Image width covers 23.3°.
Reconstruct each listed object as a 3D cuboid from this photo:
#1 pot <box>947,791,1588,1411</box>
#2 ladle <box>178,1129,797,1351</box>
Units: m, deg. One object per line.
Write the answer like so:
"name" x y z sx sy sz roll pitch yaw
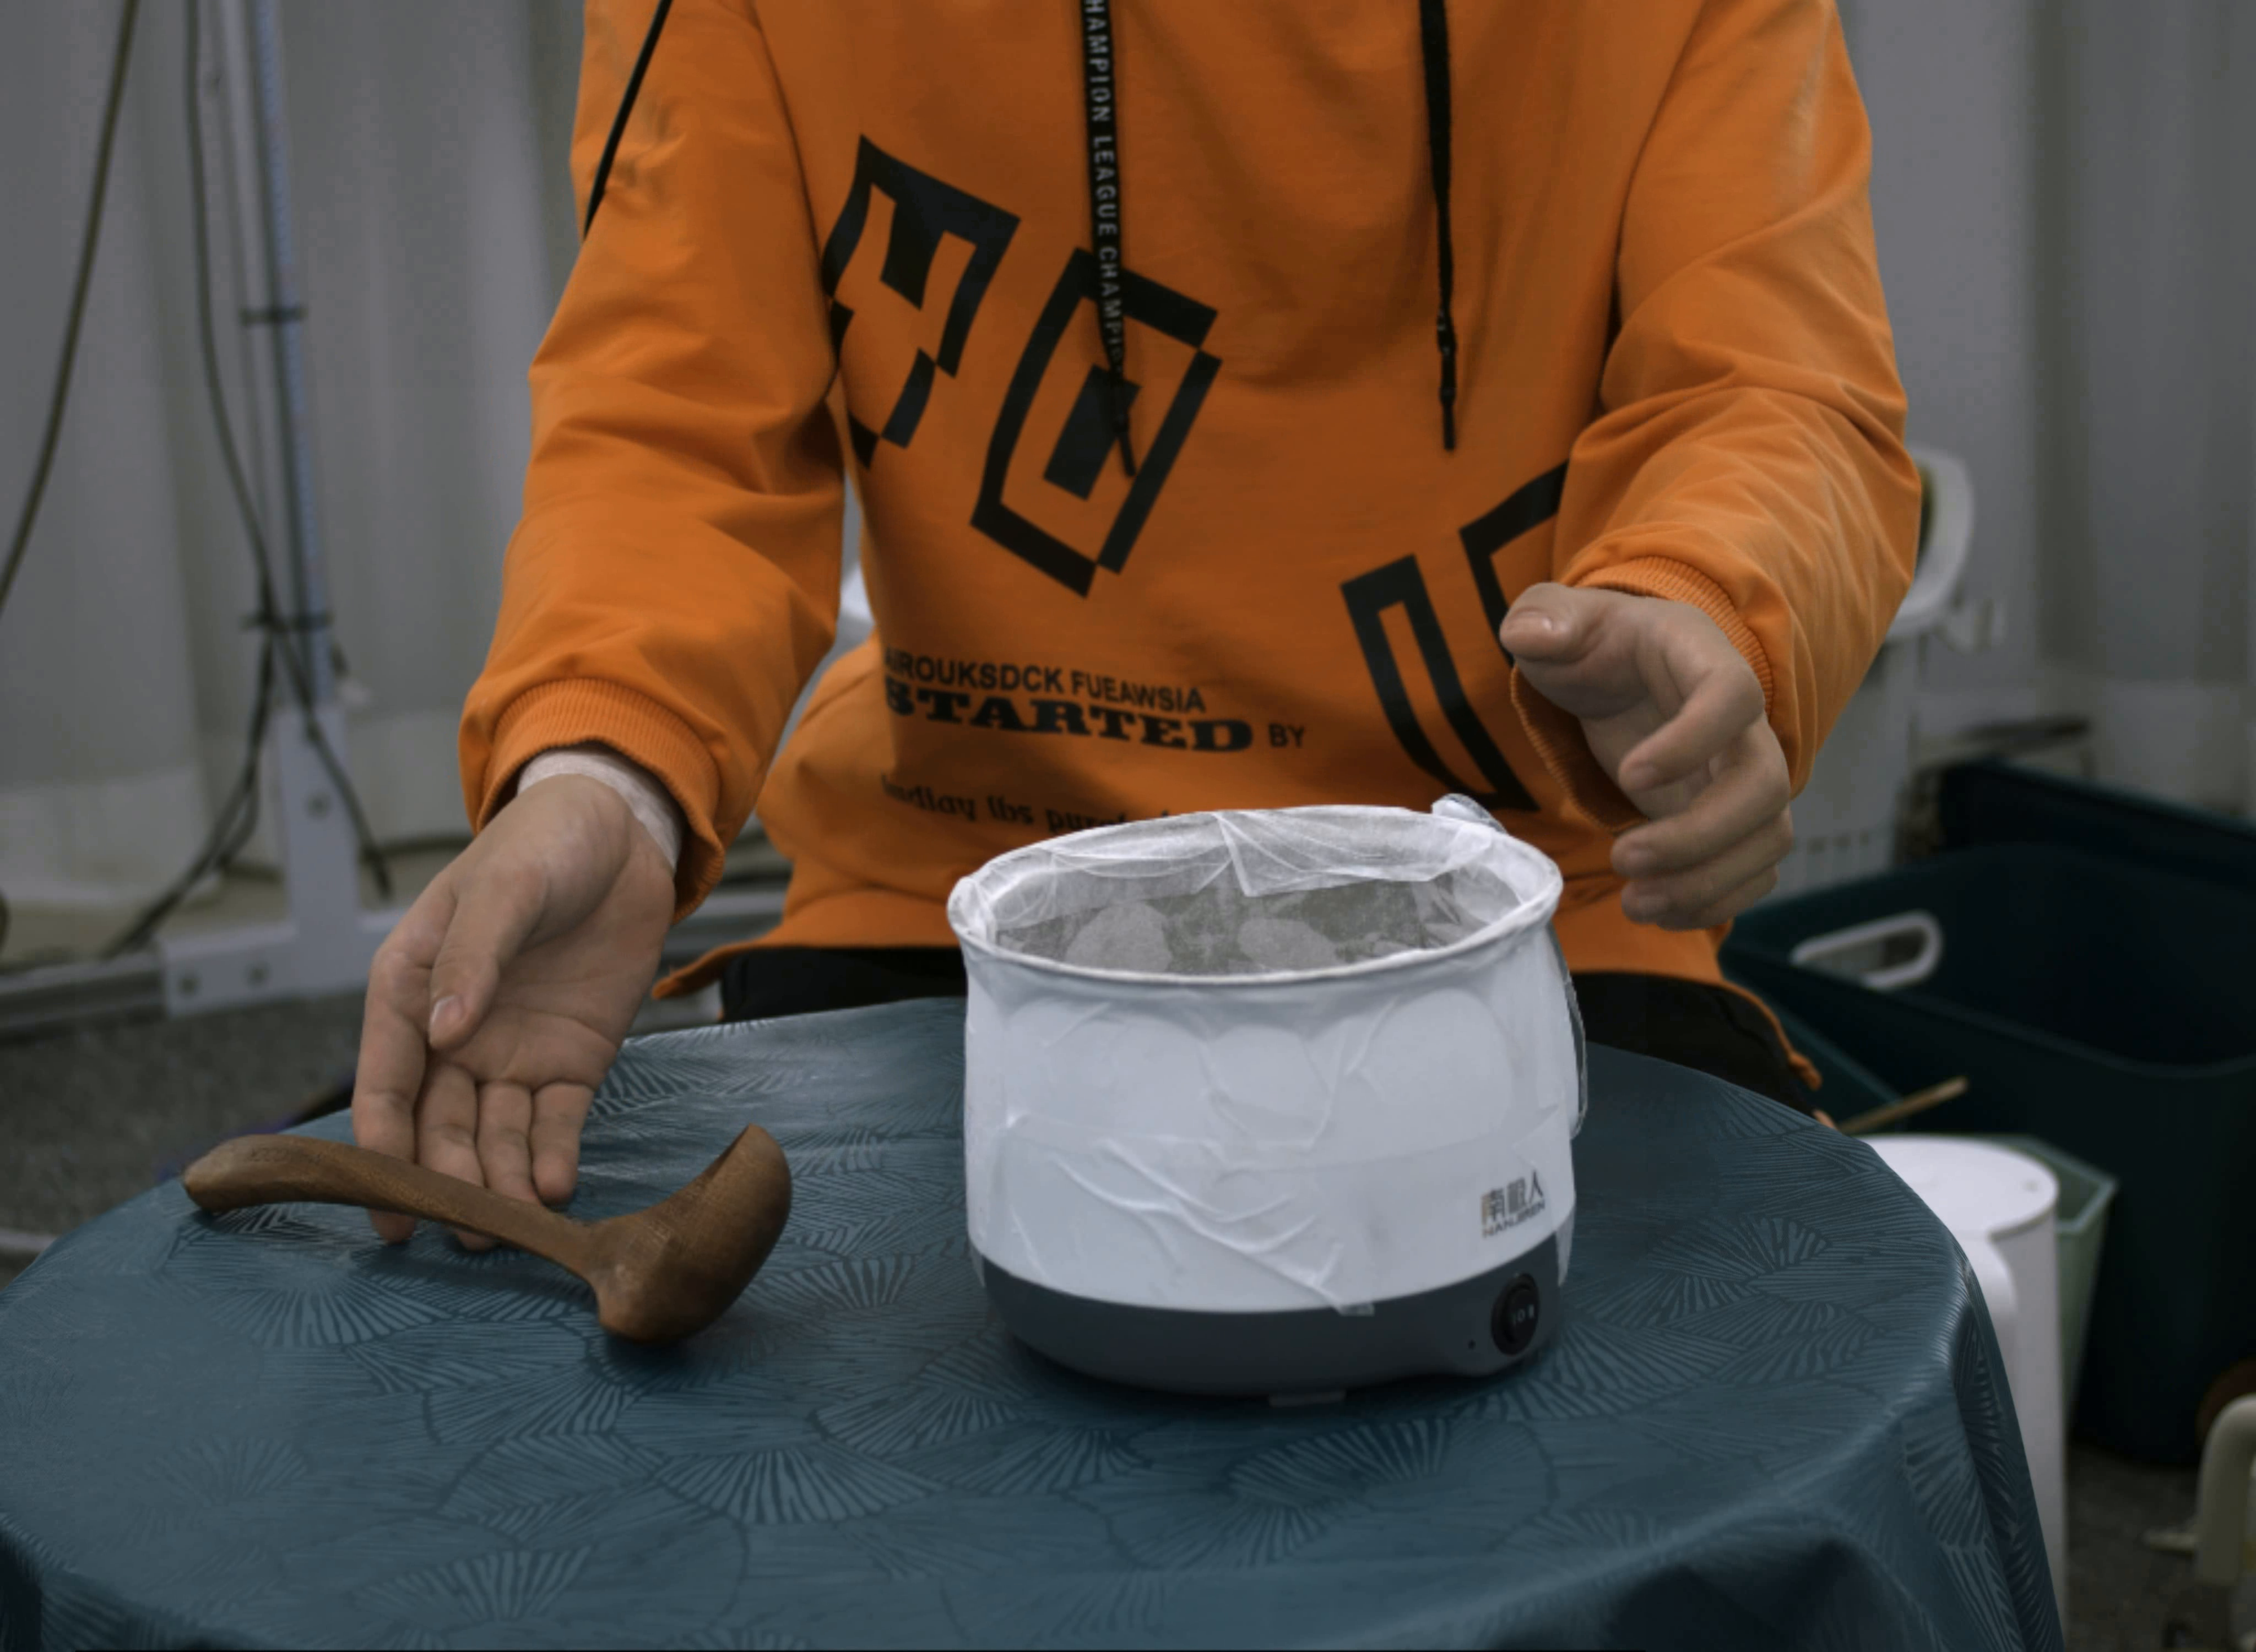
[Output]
"pot" 0.056 0.073 1.598 0.179 0.136 0.233 9 19 37
"ladle" -0.204 0.110 1.659 0.261 0.064 0.077 9 44 37
